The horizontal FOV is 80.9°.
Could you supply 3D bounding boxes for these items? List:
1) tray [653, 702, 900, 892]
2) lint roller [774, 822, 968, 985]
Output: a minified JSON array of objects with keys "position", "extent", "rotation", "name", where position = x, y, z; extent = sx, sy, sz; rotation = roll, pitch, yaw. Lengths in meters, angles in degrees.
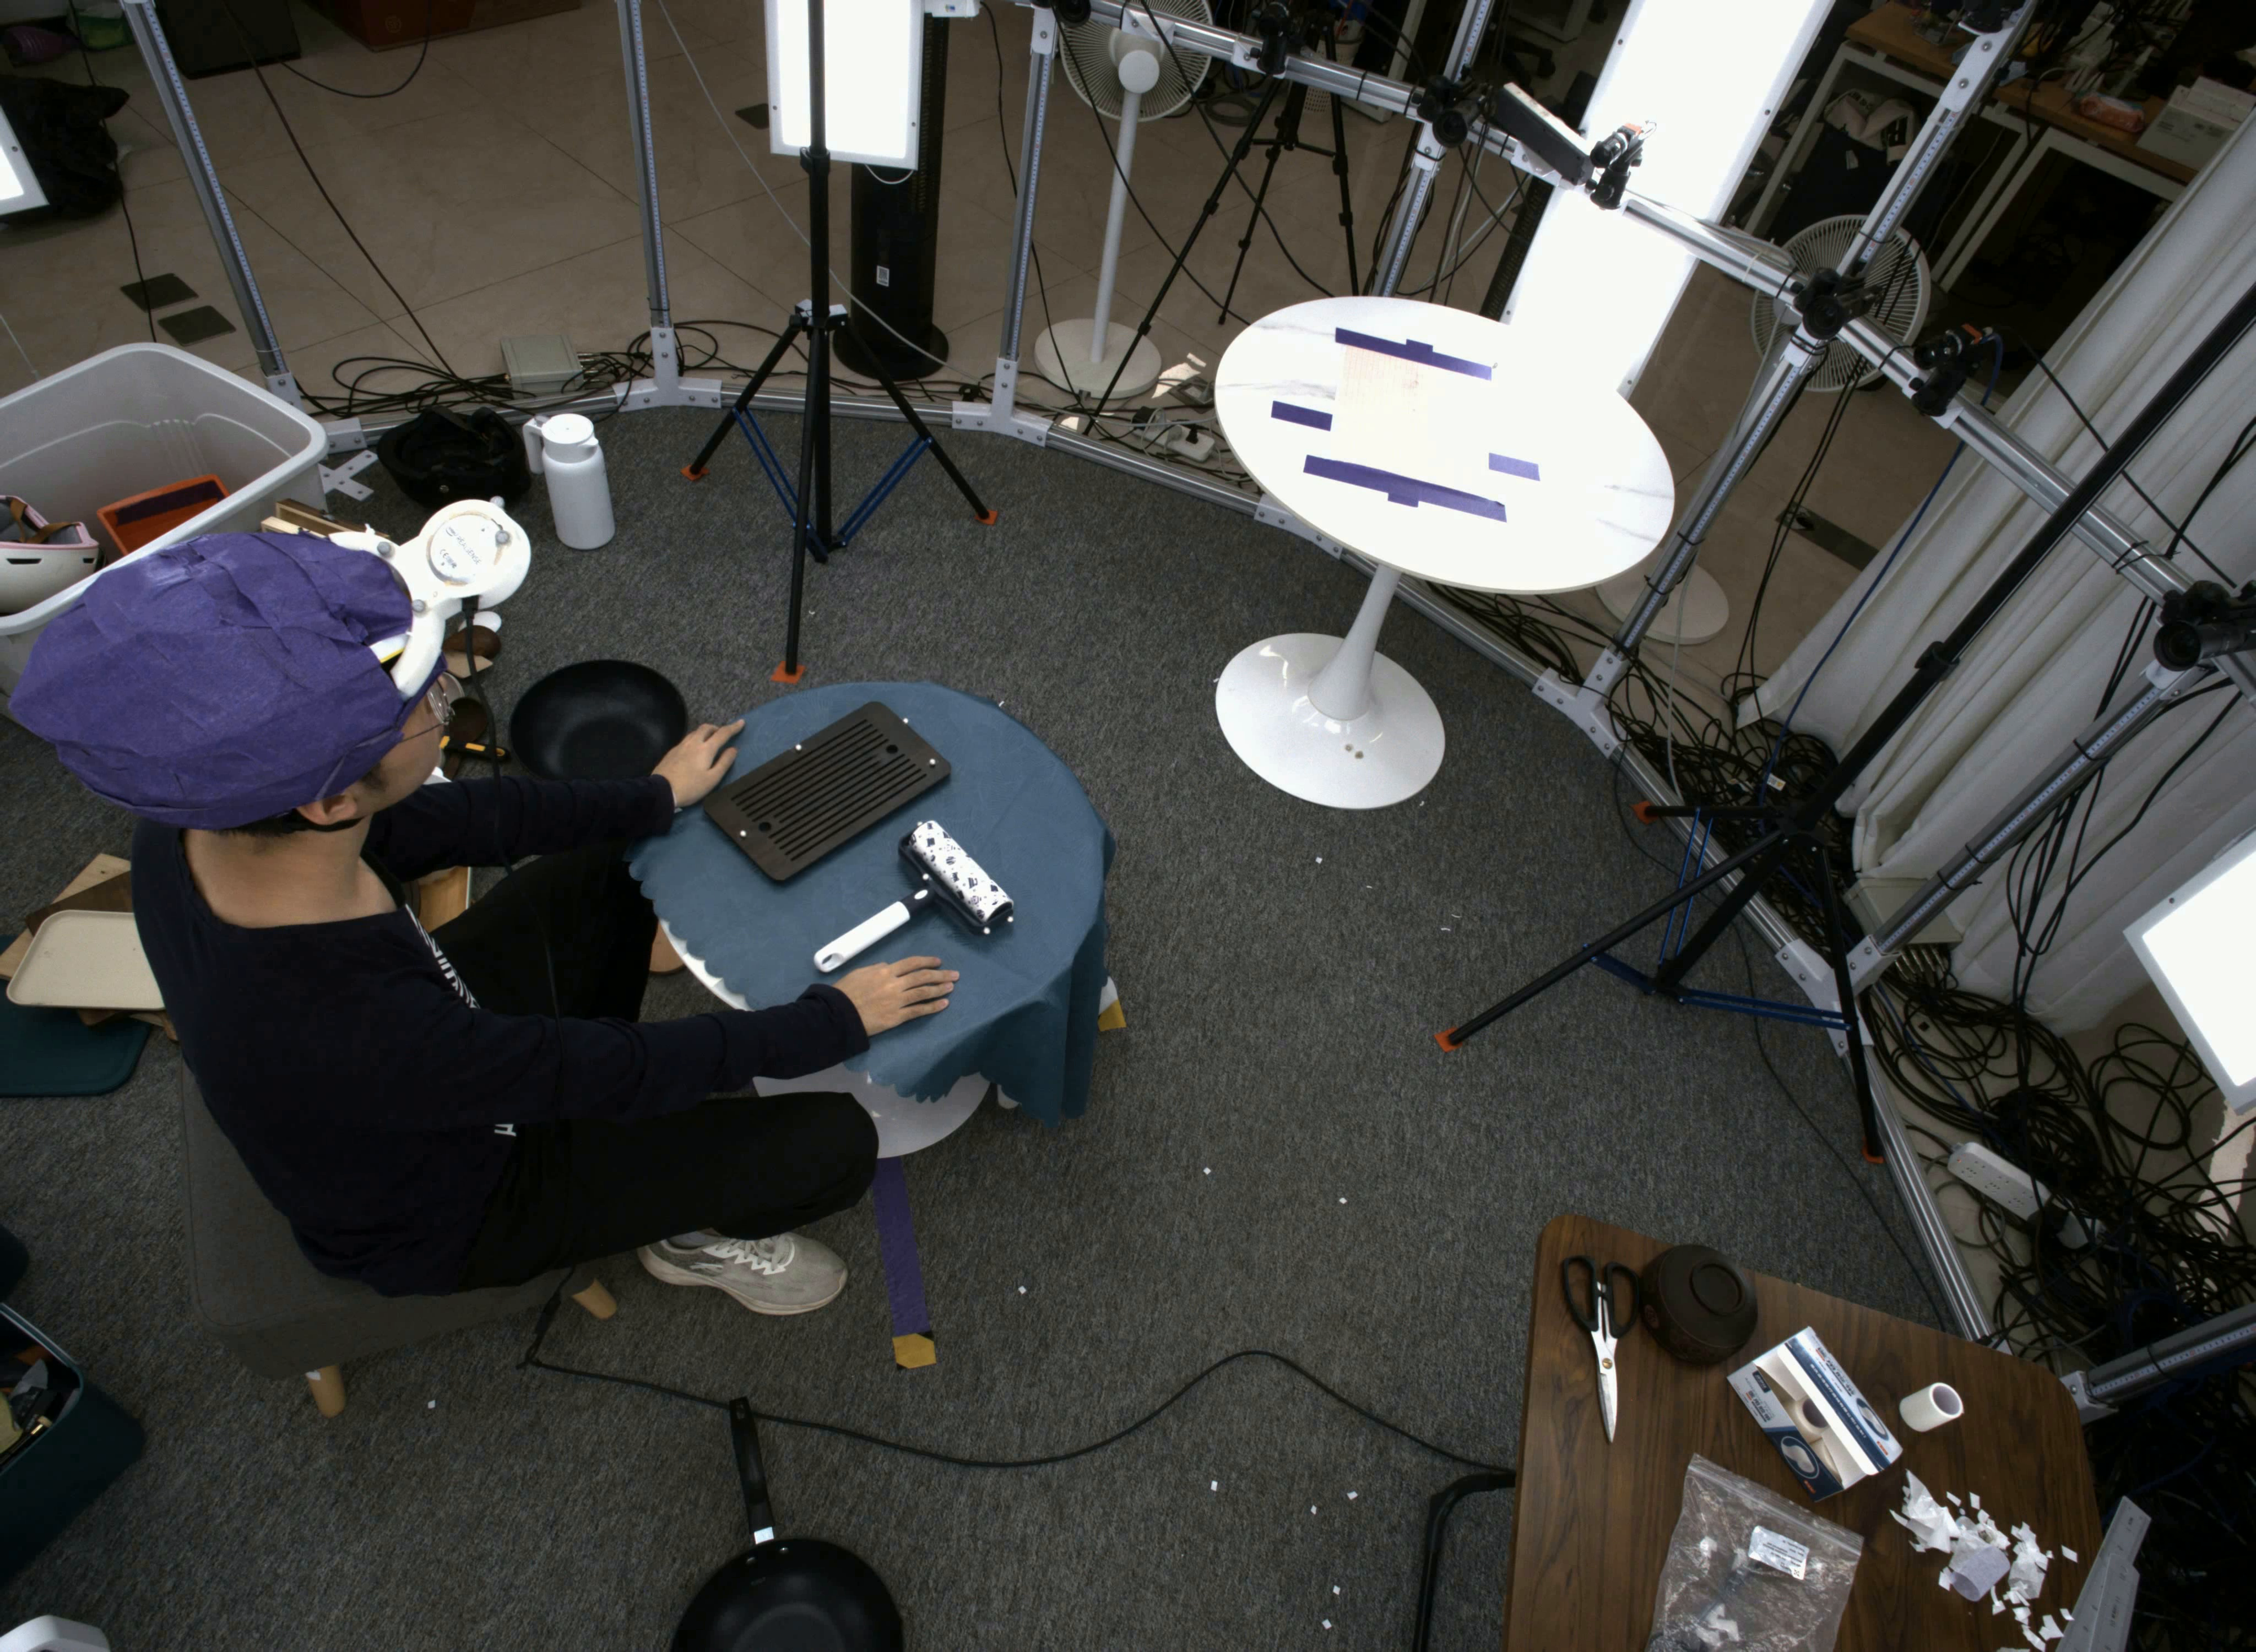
[{"position":[-0.470,-0.044,1.744],"extent":[0.166,0.019,0.306],"rotation":[40,55,15],"name":"tray"},{"position":[-0.345,0.115,1.645],"extent":[0.172,0.051,0.247],"rotation":[42,58,16],"name":"lint roller"}]
